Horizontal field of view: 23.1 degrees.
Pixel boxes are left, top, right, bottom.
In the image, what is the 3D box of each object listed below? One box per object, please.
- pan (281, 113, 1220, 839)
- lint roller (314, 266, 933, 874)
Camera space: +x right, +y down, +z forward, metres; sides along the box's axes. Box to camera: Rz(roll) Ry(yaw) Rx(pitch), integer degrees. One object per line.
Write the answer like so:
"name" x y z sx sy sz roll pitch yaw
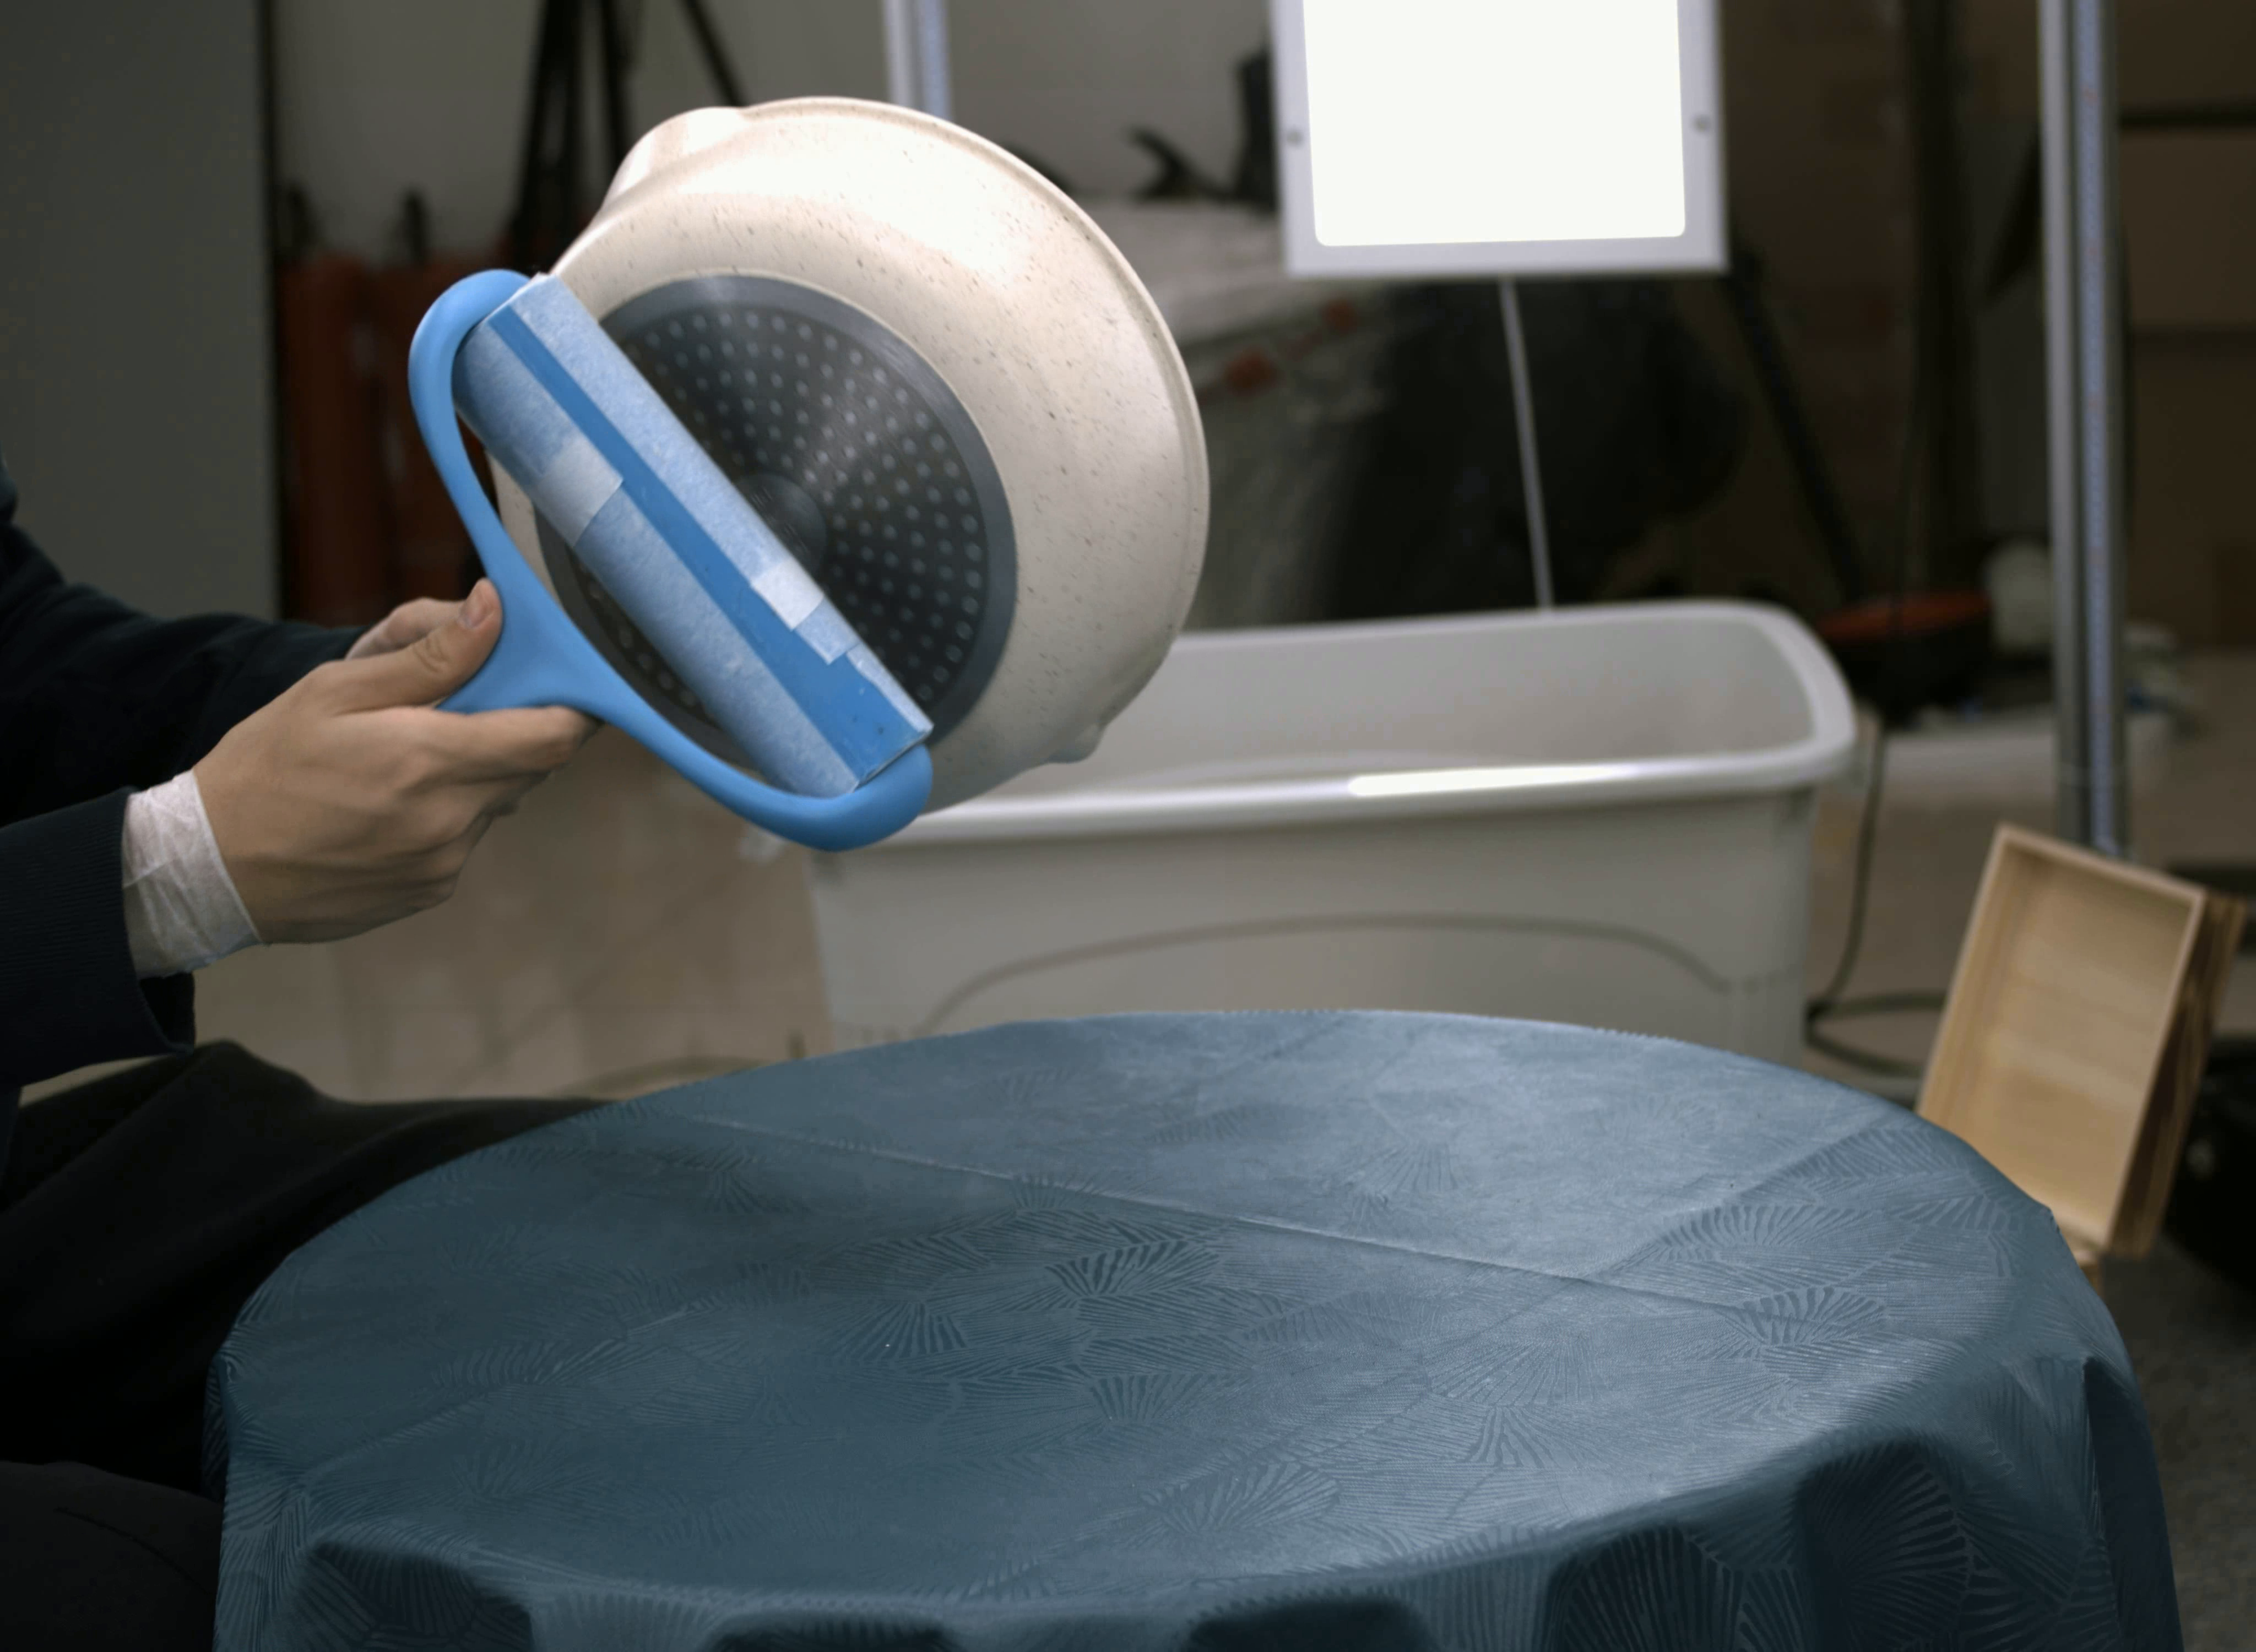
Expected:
"pan" -0.165 -0.076 1.926 0.444 0.263 0.100 -29 11 34
"lint roller" -0.188 -0.049 1.775 0.179 0.229 0.068 -43 0 -7
